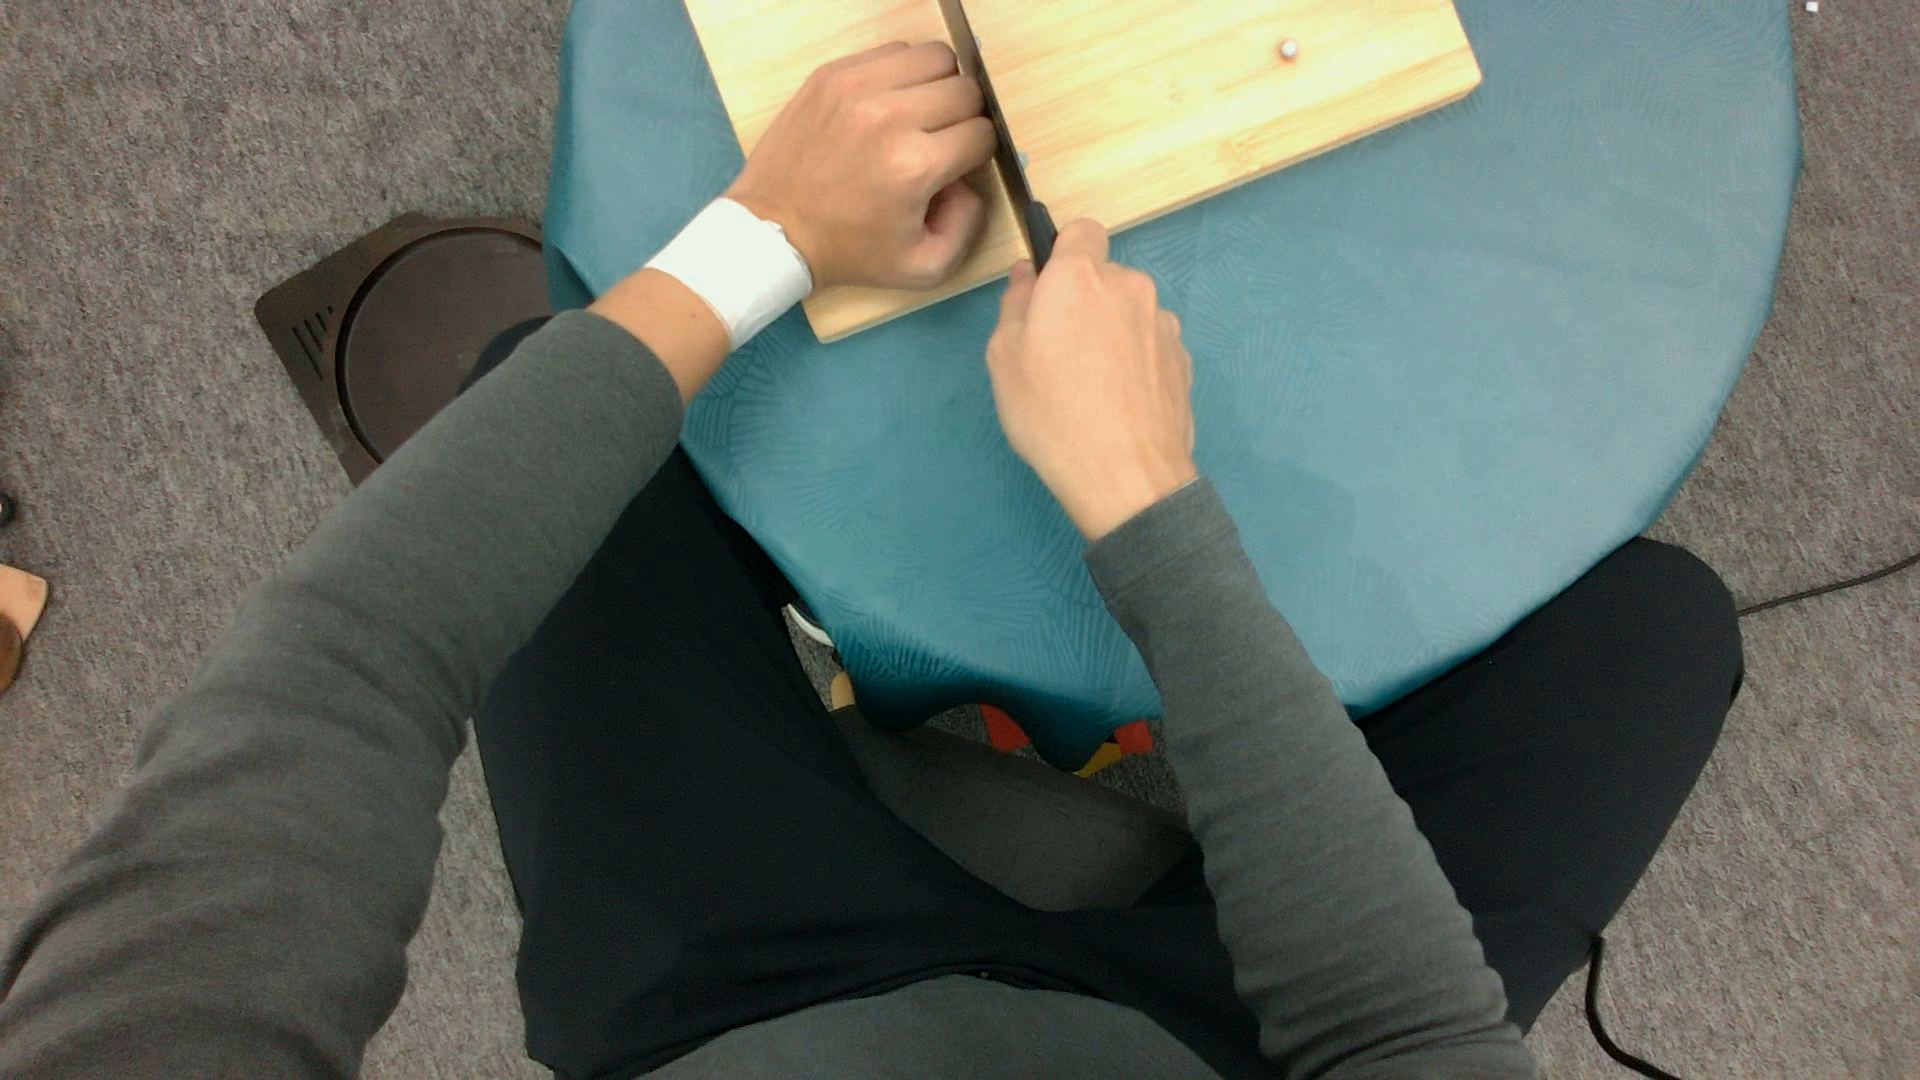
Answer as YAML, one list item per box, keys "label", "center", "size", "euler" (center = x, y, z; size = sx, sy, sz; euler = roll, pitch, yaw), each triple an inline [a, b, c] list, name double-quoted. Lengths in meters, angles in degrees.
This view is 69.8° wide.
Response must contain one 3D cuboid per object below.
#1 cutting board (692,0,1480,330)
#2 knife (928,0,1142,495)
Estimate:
- label: "cutting board"
  center: [0.045, -0.273, 0.666]
  size: [0.349, 0.023, 0.251]
  euler: [-22, 88, -3]
- label: "knife"
  center: [0.018, -0.162, 0.605]
  size: [0.021, 0.081, 0.302]
  euler: [-20, 81, -1]
